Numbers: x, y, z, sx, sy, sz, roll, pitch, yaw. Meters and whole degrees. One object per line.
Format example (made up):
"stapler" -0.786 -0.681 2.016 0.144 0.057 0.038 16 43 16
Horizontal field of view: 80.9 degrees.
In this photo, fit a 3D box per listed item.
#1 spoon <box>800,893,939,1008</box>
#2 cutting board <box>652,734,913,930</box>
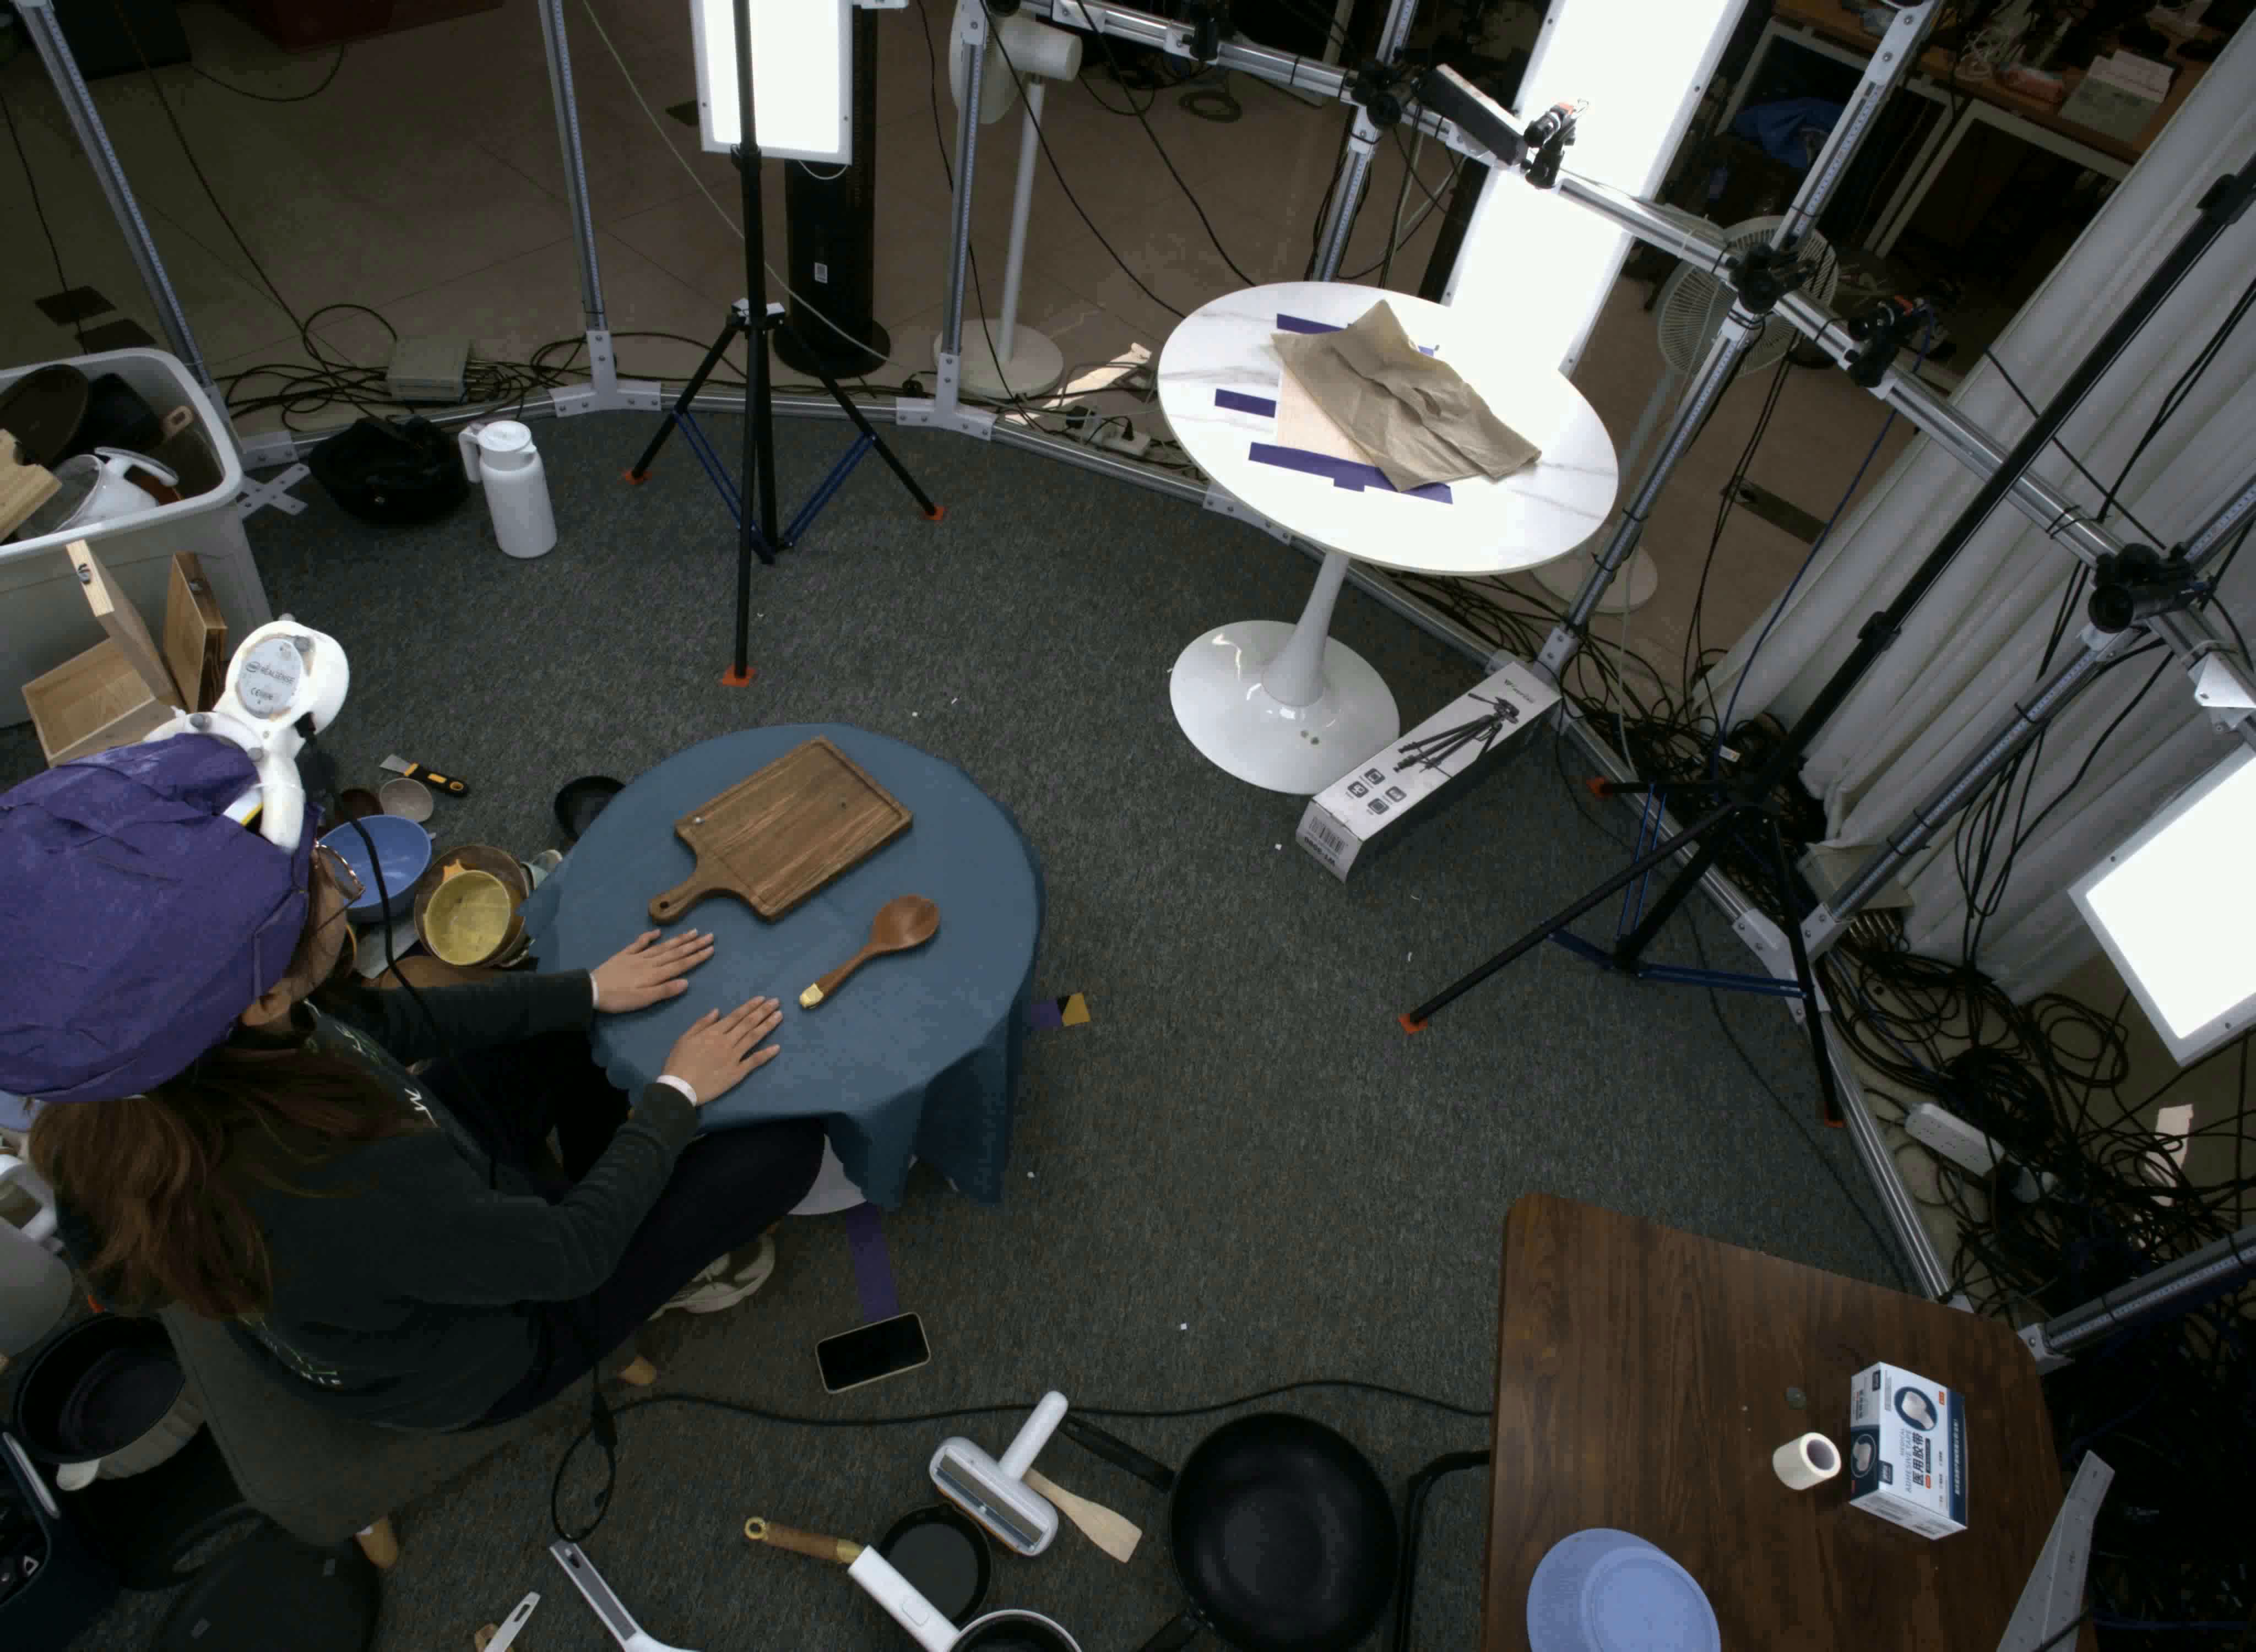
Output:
"spoon" -0.324 0.155 1.627 0.074 0.017 0.216 40 54 14
"cutting board" -0.472 0.023 1.688 0.197 0.023 0.352 41 55 15
